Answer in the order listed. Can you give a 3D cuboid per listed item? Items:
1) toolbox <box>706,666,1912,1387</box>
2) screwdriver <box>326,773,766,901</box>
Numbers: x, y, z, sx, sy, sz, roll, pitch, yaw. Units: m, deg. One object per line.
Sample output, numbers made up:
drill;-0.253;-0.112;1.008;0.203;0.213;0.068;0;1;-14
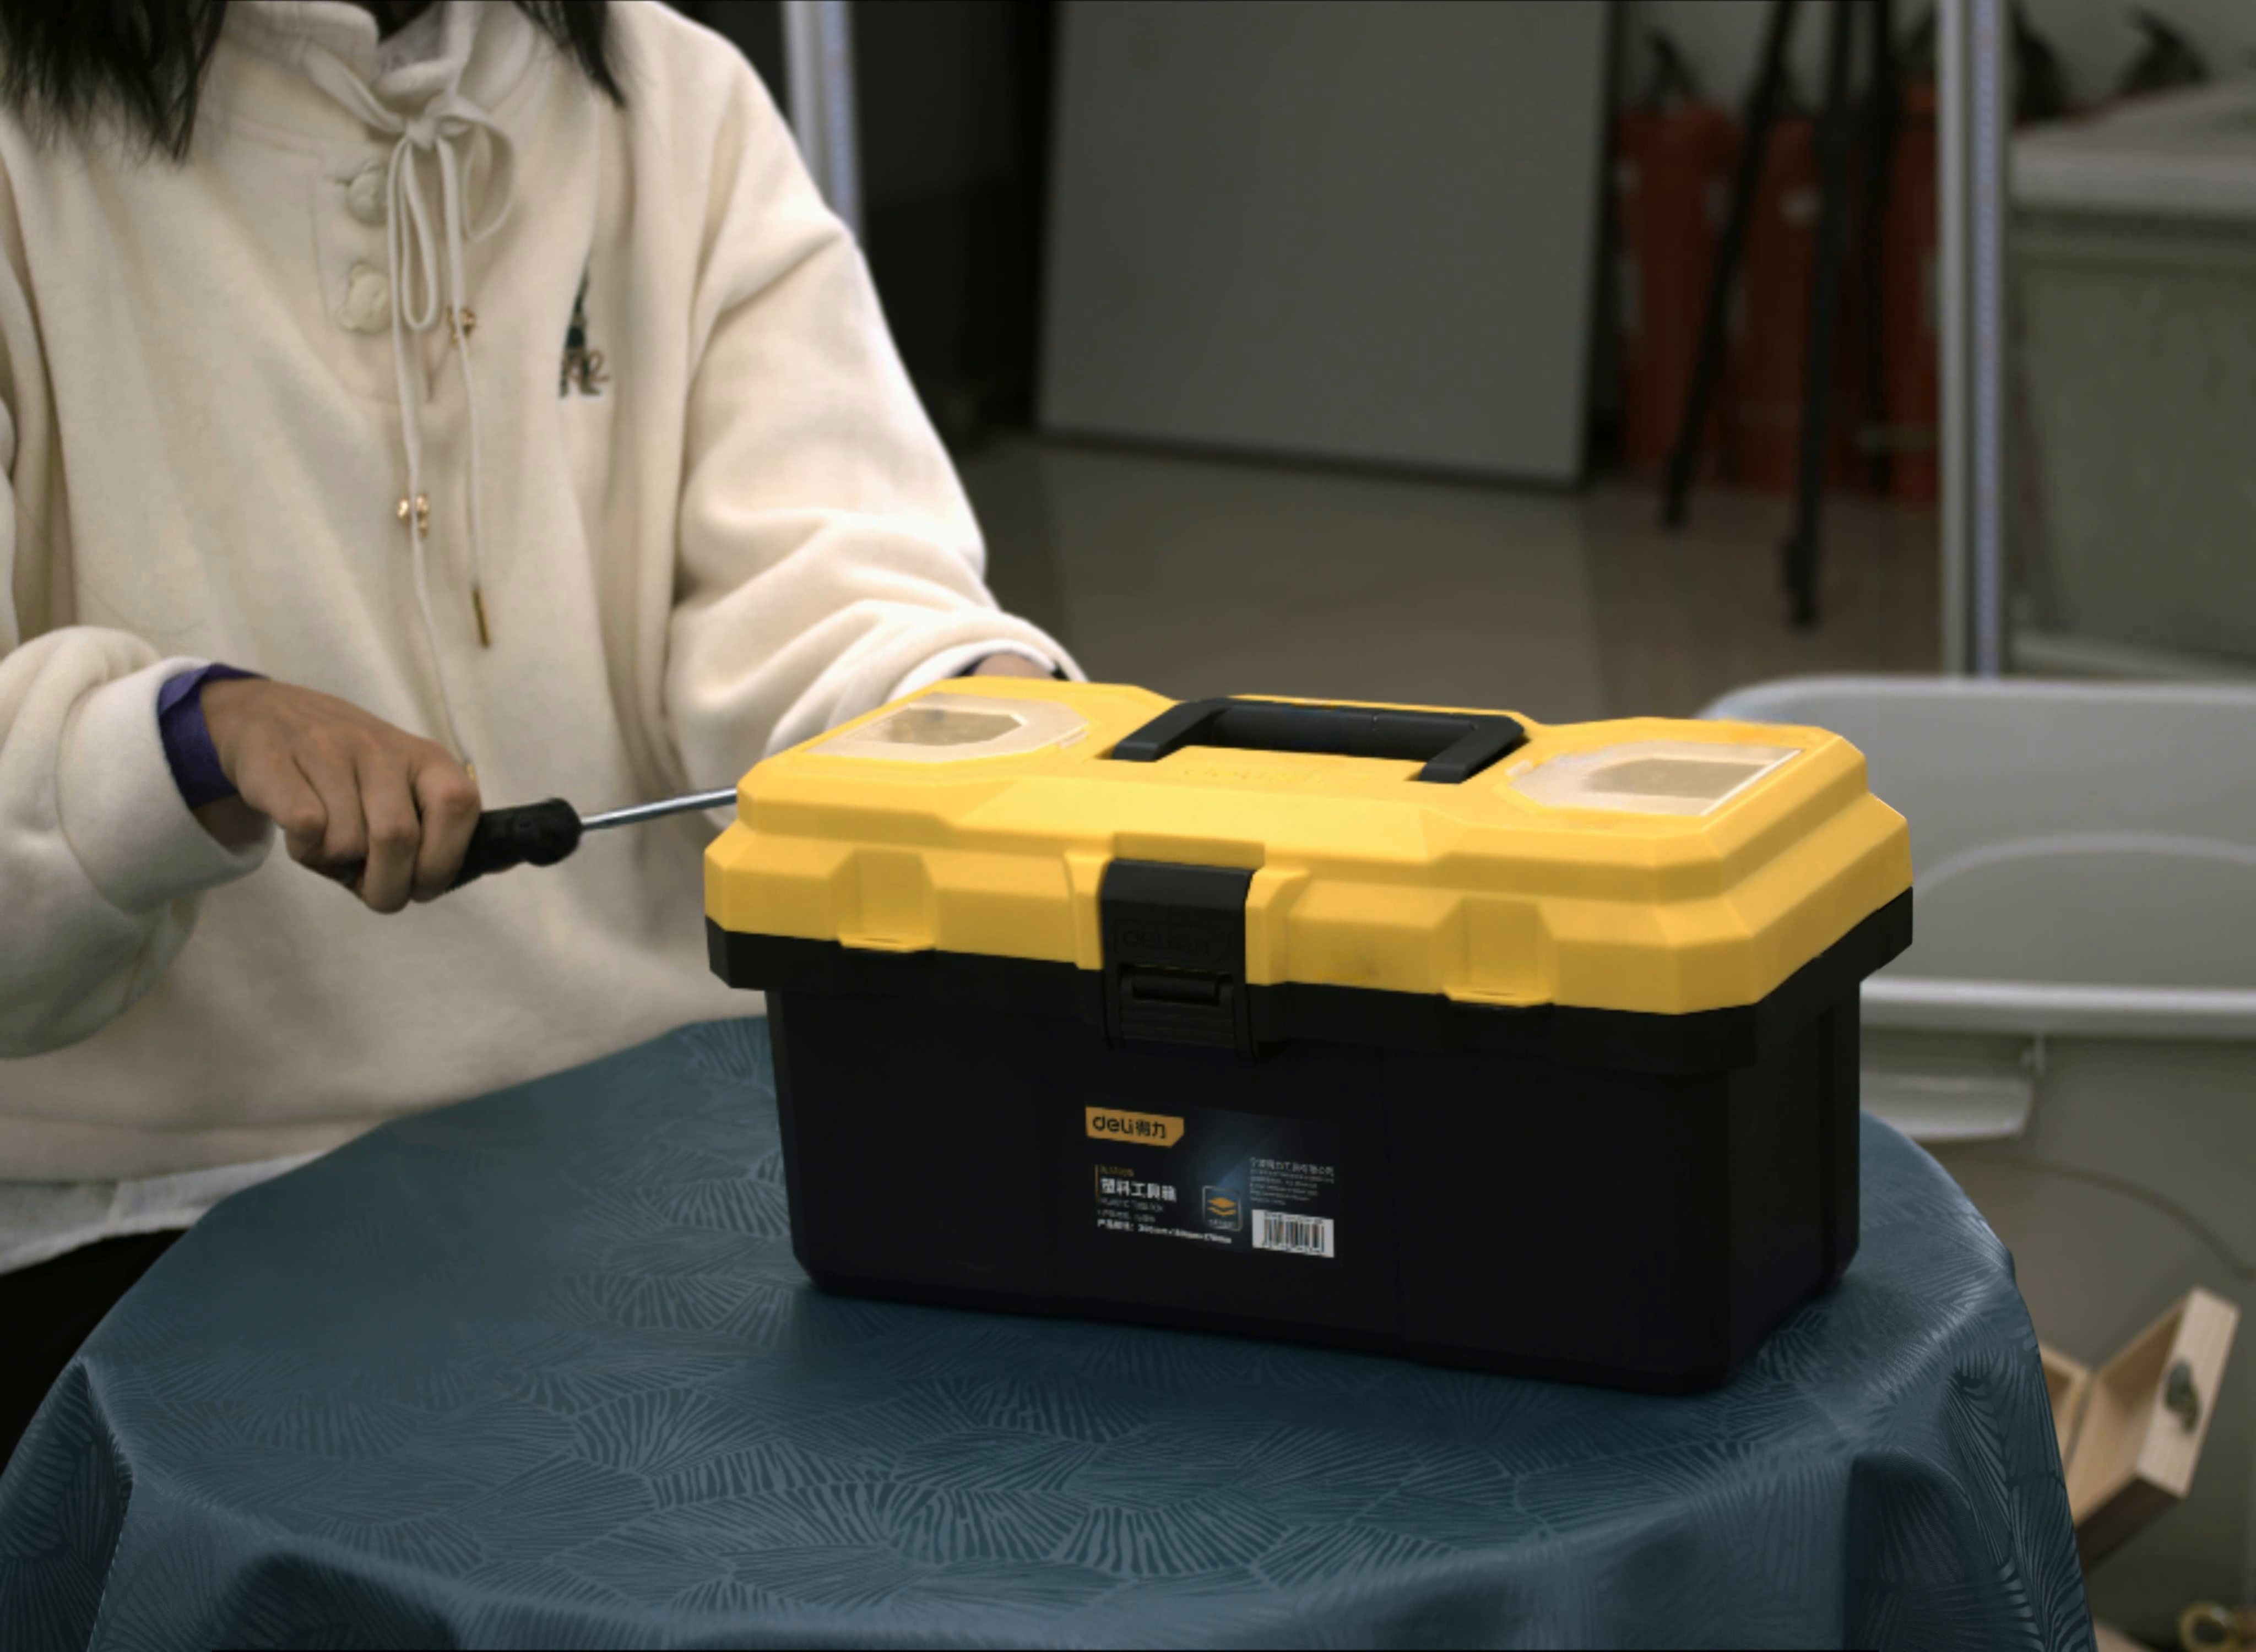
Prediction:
toolbox;0.054;0.057;1.649;0.353;0.175;0.178;4;15;29
screwdriver;-0.185;-0.003;1.752;0.197;0.032;0.031;-13;5;37
